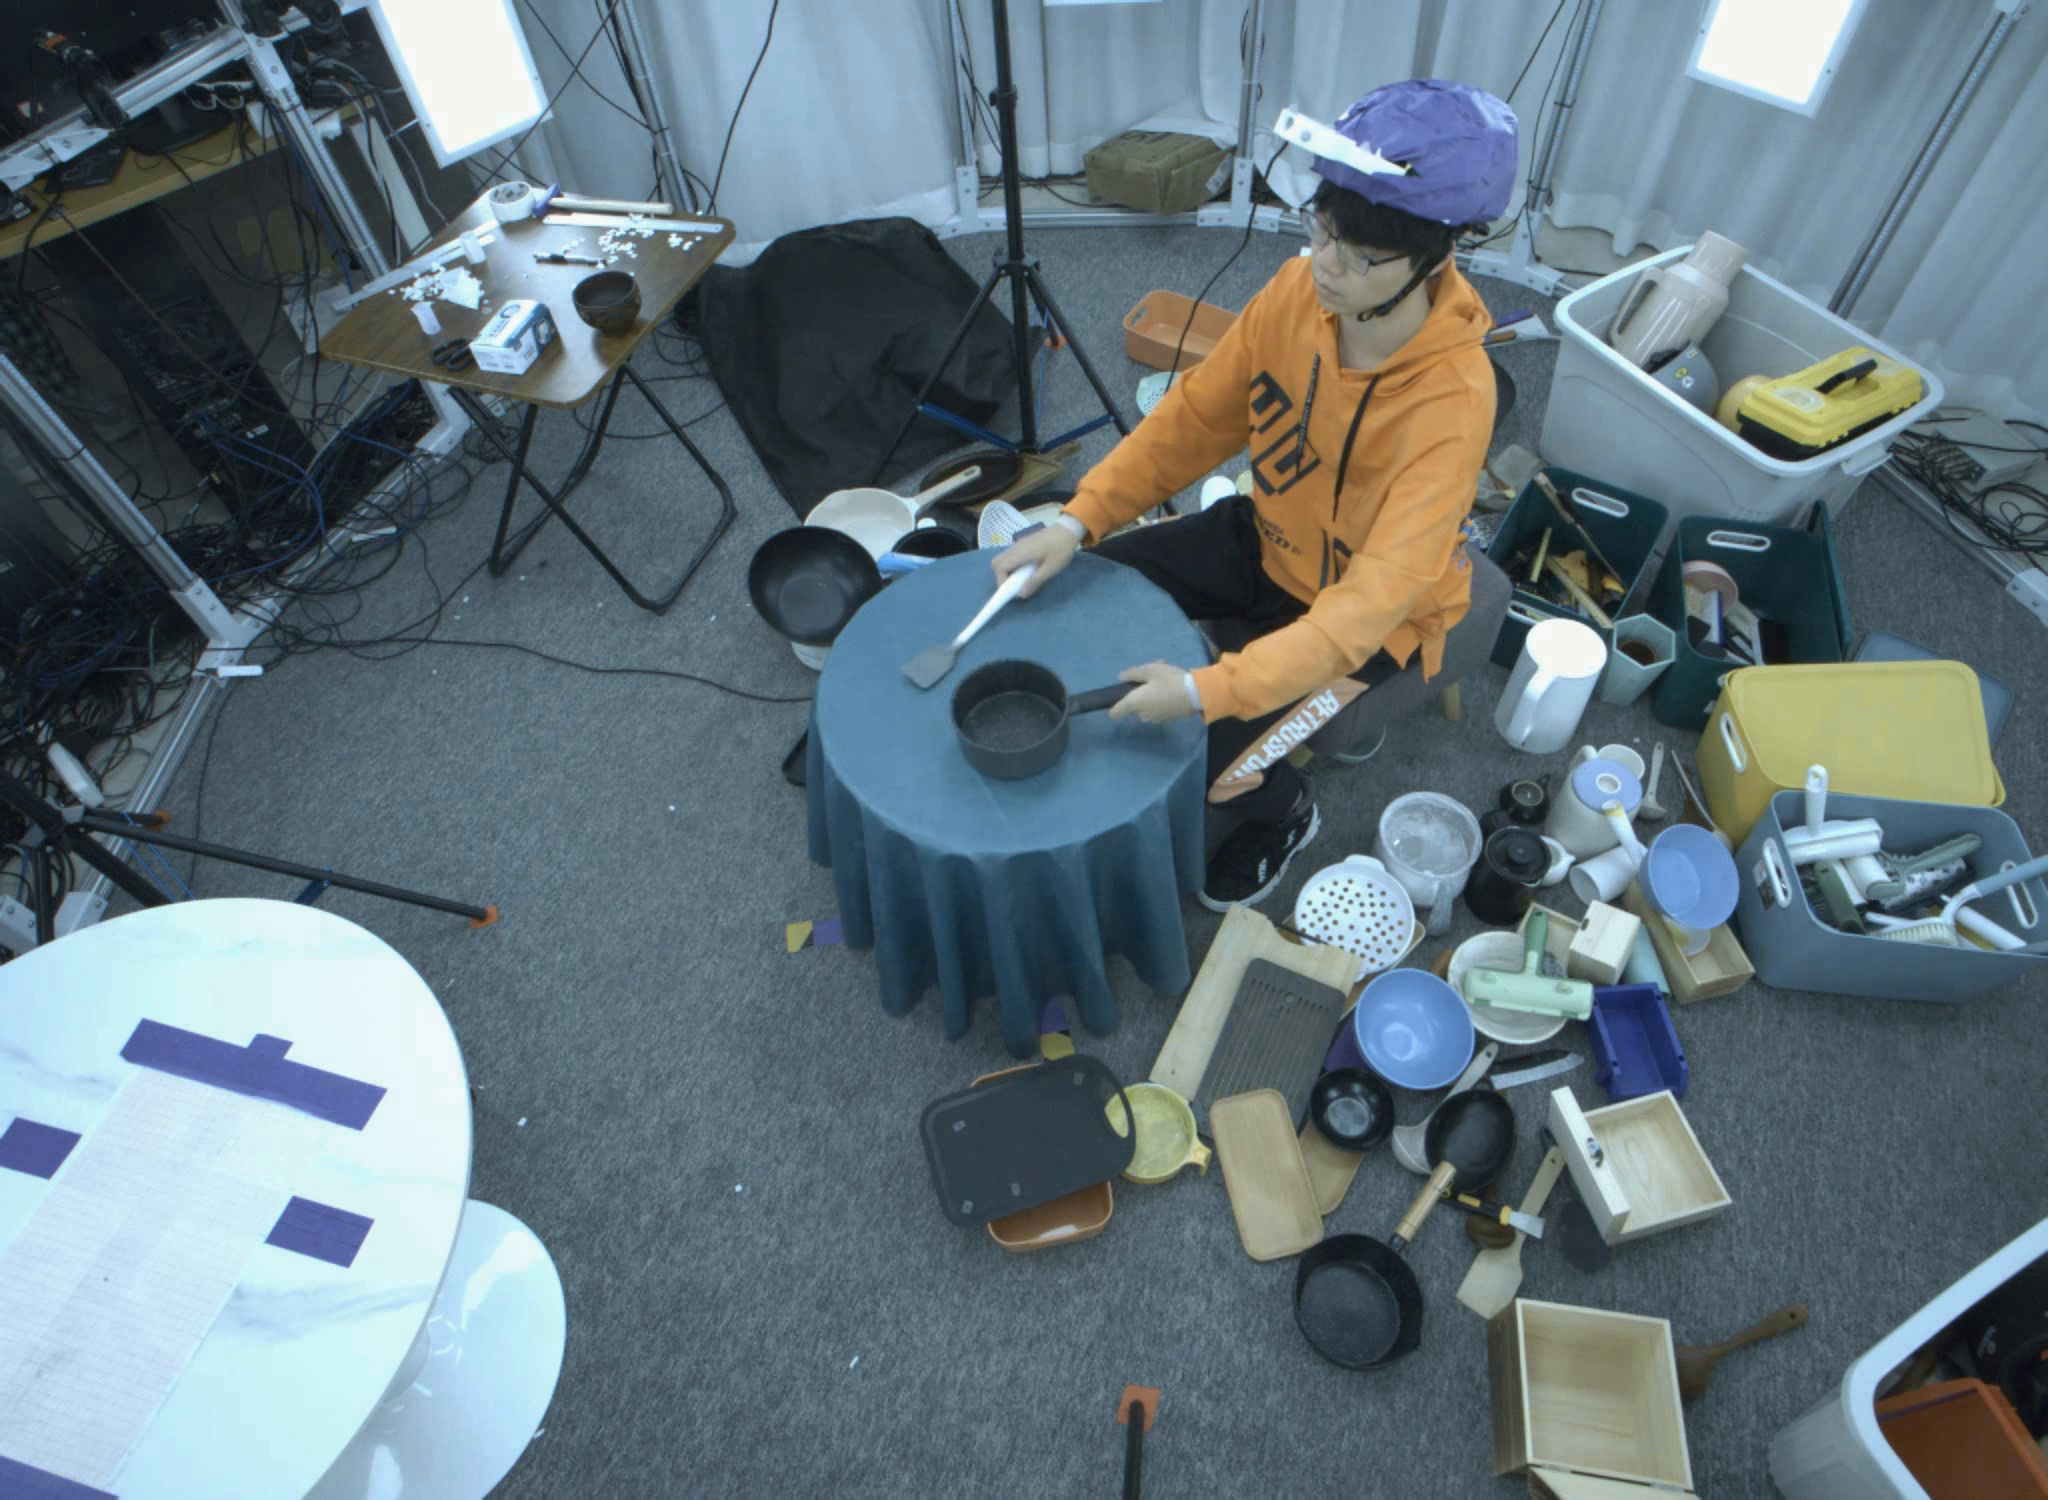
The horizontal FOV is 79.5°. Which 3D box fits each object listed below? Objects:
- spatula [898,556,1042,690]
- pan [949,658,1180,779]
[{"bbox_3d":[-0.078,-0.198,1.903,0.058,0.032,0.289,41,72,8],"label":"spatula"},{"bbox_3d":[0.060,-0.053,1.768,0.328,0.087,0.170,-6,55,1],"label":"pan"}]
